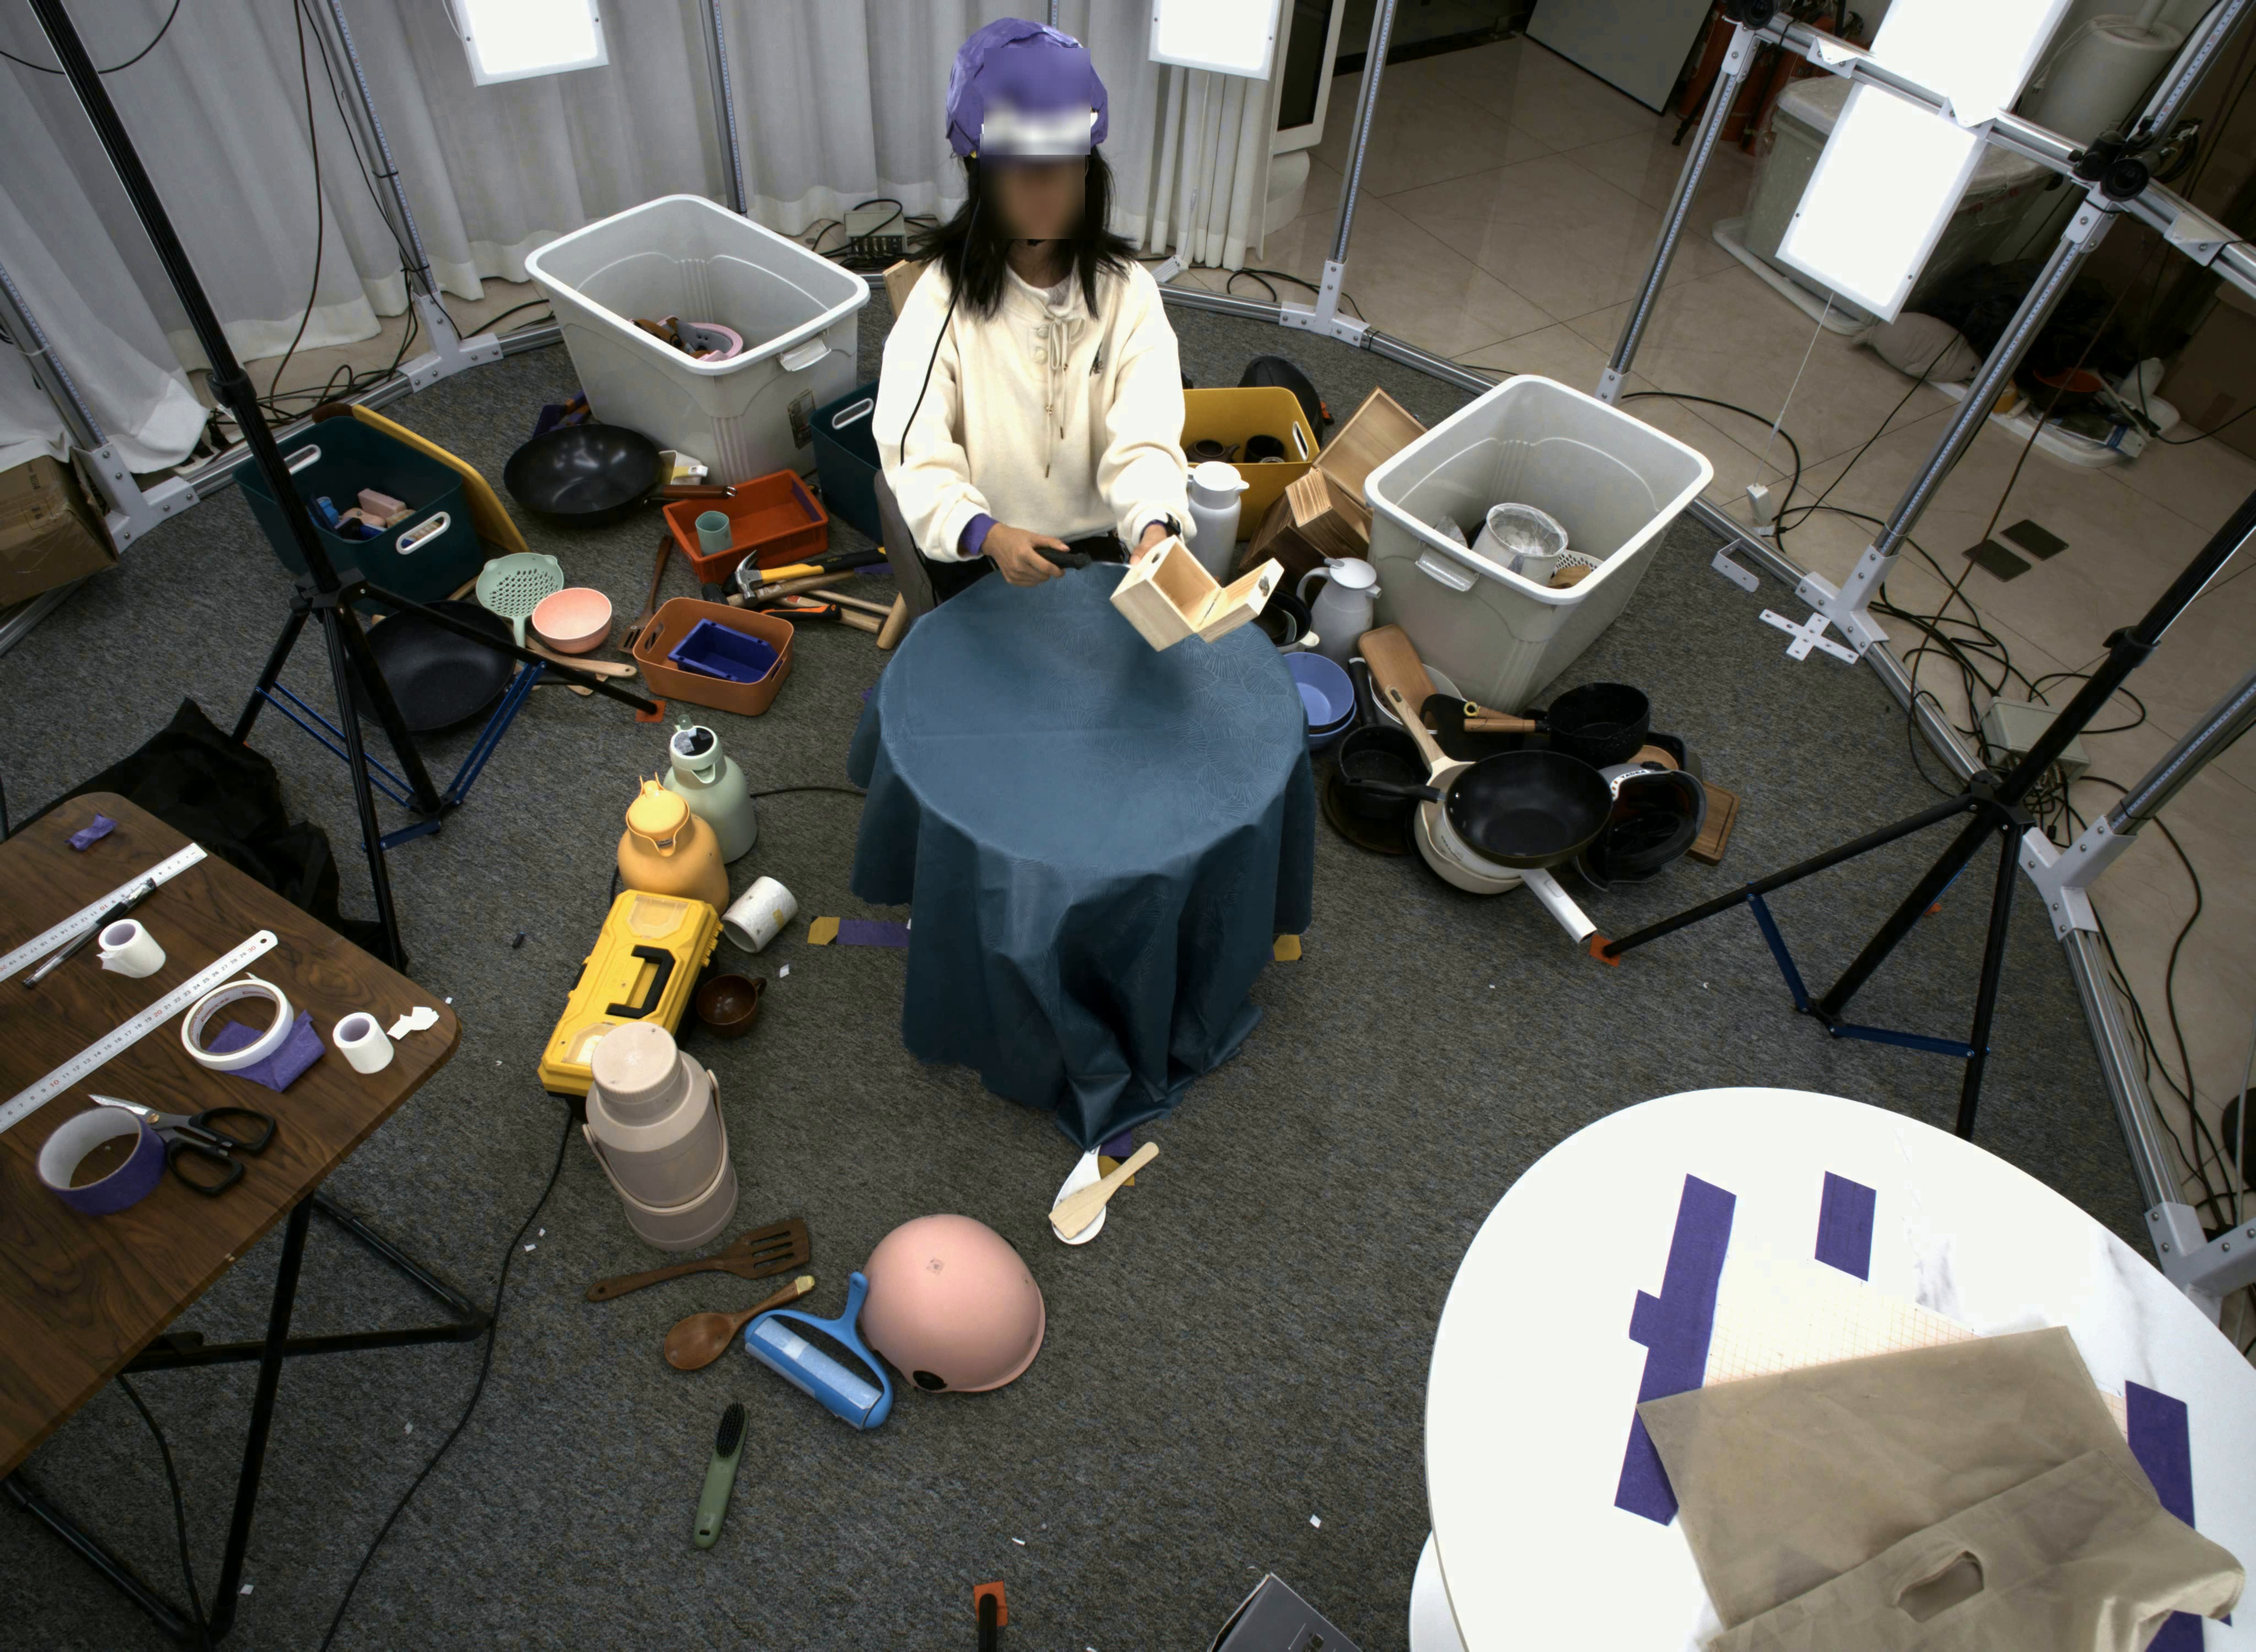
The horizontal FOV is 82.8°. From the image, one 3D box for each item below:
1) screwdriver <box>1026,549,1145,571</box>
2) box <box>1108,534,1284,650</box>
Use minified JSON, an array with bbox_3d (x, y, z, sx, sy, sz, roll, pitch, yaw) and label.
[{"bbox_3d":[-0.059,-0.358,1.768,0.200,0.031,0.032,15,47,33],"label":"screwdriver"},{"bbox_3d":[0.090,-0.324,1.721,0.132,0.183,0.104,47,51,-20],"label":"box"}]
